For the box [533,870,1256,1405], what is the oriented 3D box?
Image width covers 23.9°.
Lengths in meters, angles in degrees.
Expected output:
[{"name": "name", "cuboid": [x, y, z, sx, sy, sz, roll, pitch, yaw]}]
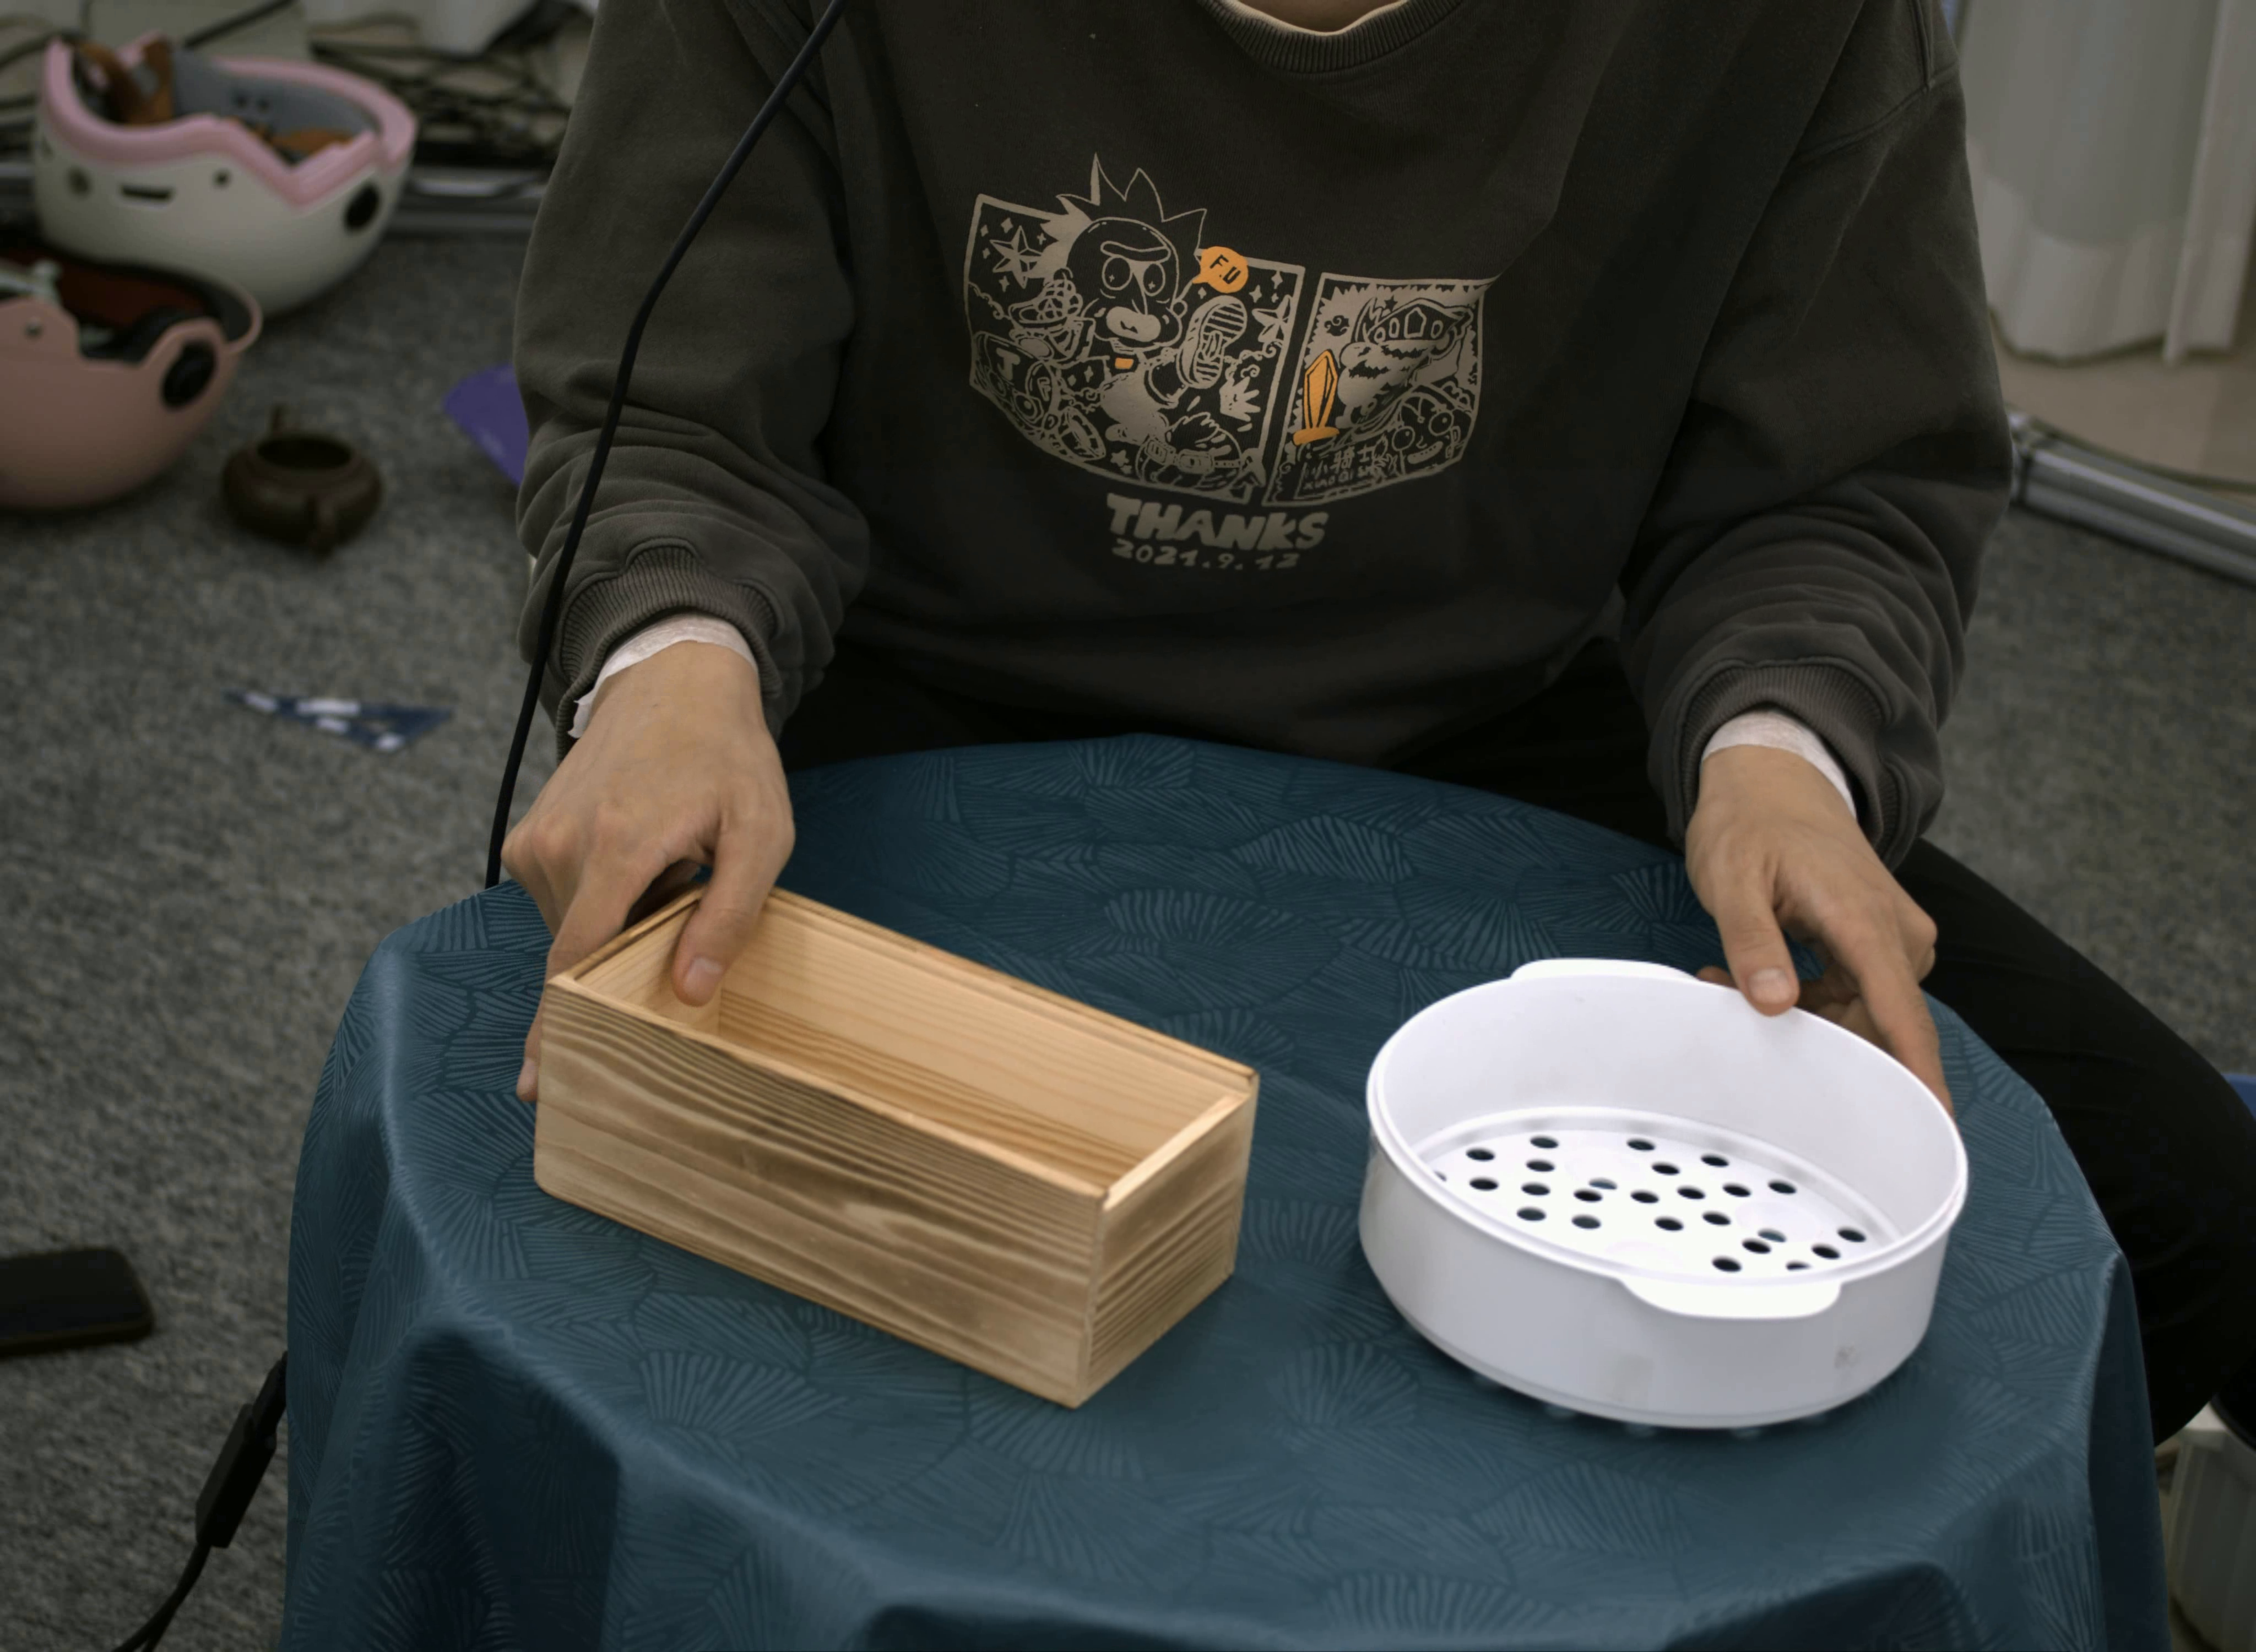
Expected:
[{"name": "box", "cuboid": [-0.078, 0.099, 1.747, 0.212, 0.080, 0.107, 20, 28, 24]}]

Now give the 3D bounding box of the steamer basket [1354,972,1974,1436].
[{"name": "steamer basket", "cuboid": [0.175, 0.127, 1.762, 0.201, 0.069, 0.232, 3, 26, -9]}]
